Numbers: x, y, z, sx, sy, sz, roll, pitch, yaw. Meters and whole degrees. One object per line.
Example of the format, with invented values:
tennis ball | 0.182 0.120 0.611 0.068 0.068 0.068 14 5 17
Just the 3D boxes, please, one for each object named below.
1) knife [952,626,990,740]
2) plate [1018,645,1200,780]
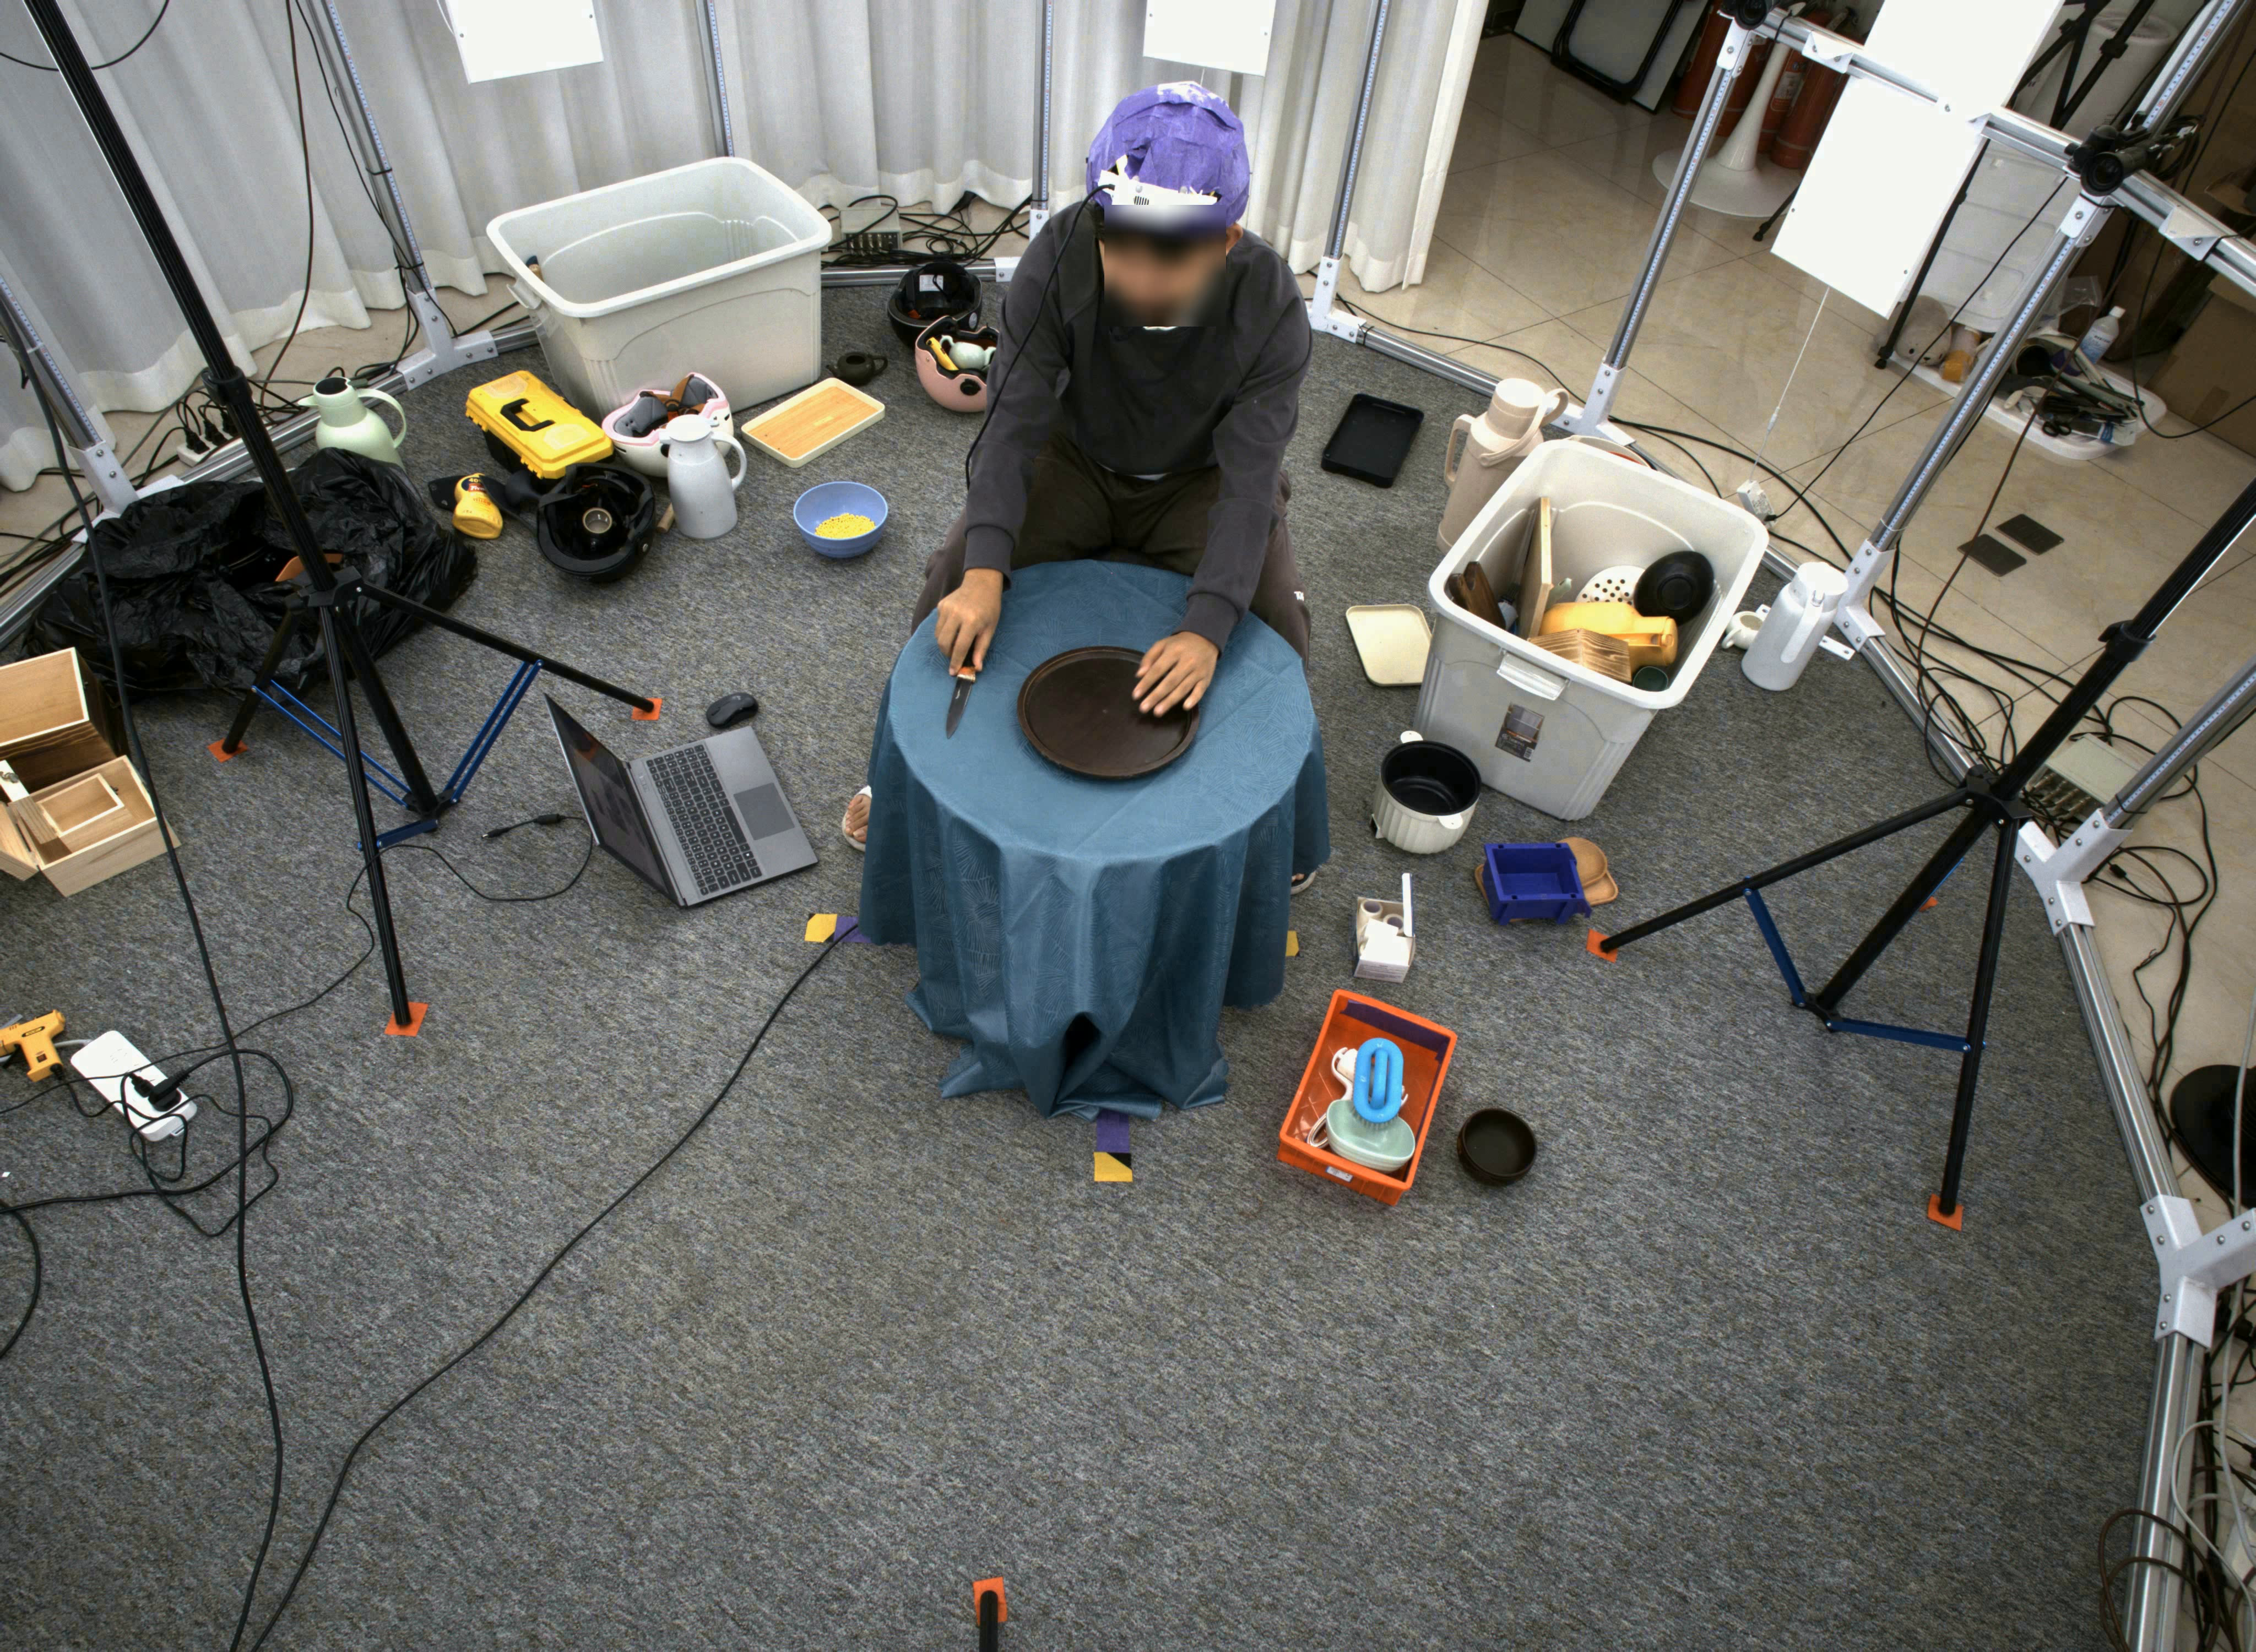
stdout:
knife | -0.225 -0.205 1.819 0.026 0.017 0.231 13 49 -4
plate | -0.027 -0.159 1.787 0.254 0.028 0.261 1 48 -2
